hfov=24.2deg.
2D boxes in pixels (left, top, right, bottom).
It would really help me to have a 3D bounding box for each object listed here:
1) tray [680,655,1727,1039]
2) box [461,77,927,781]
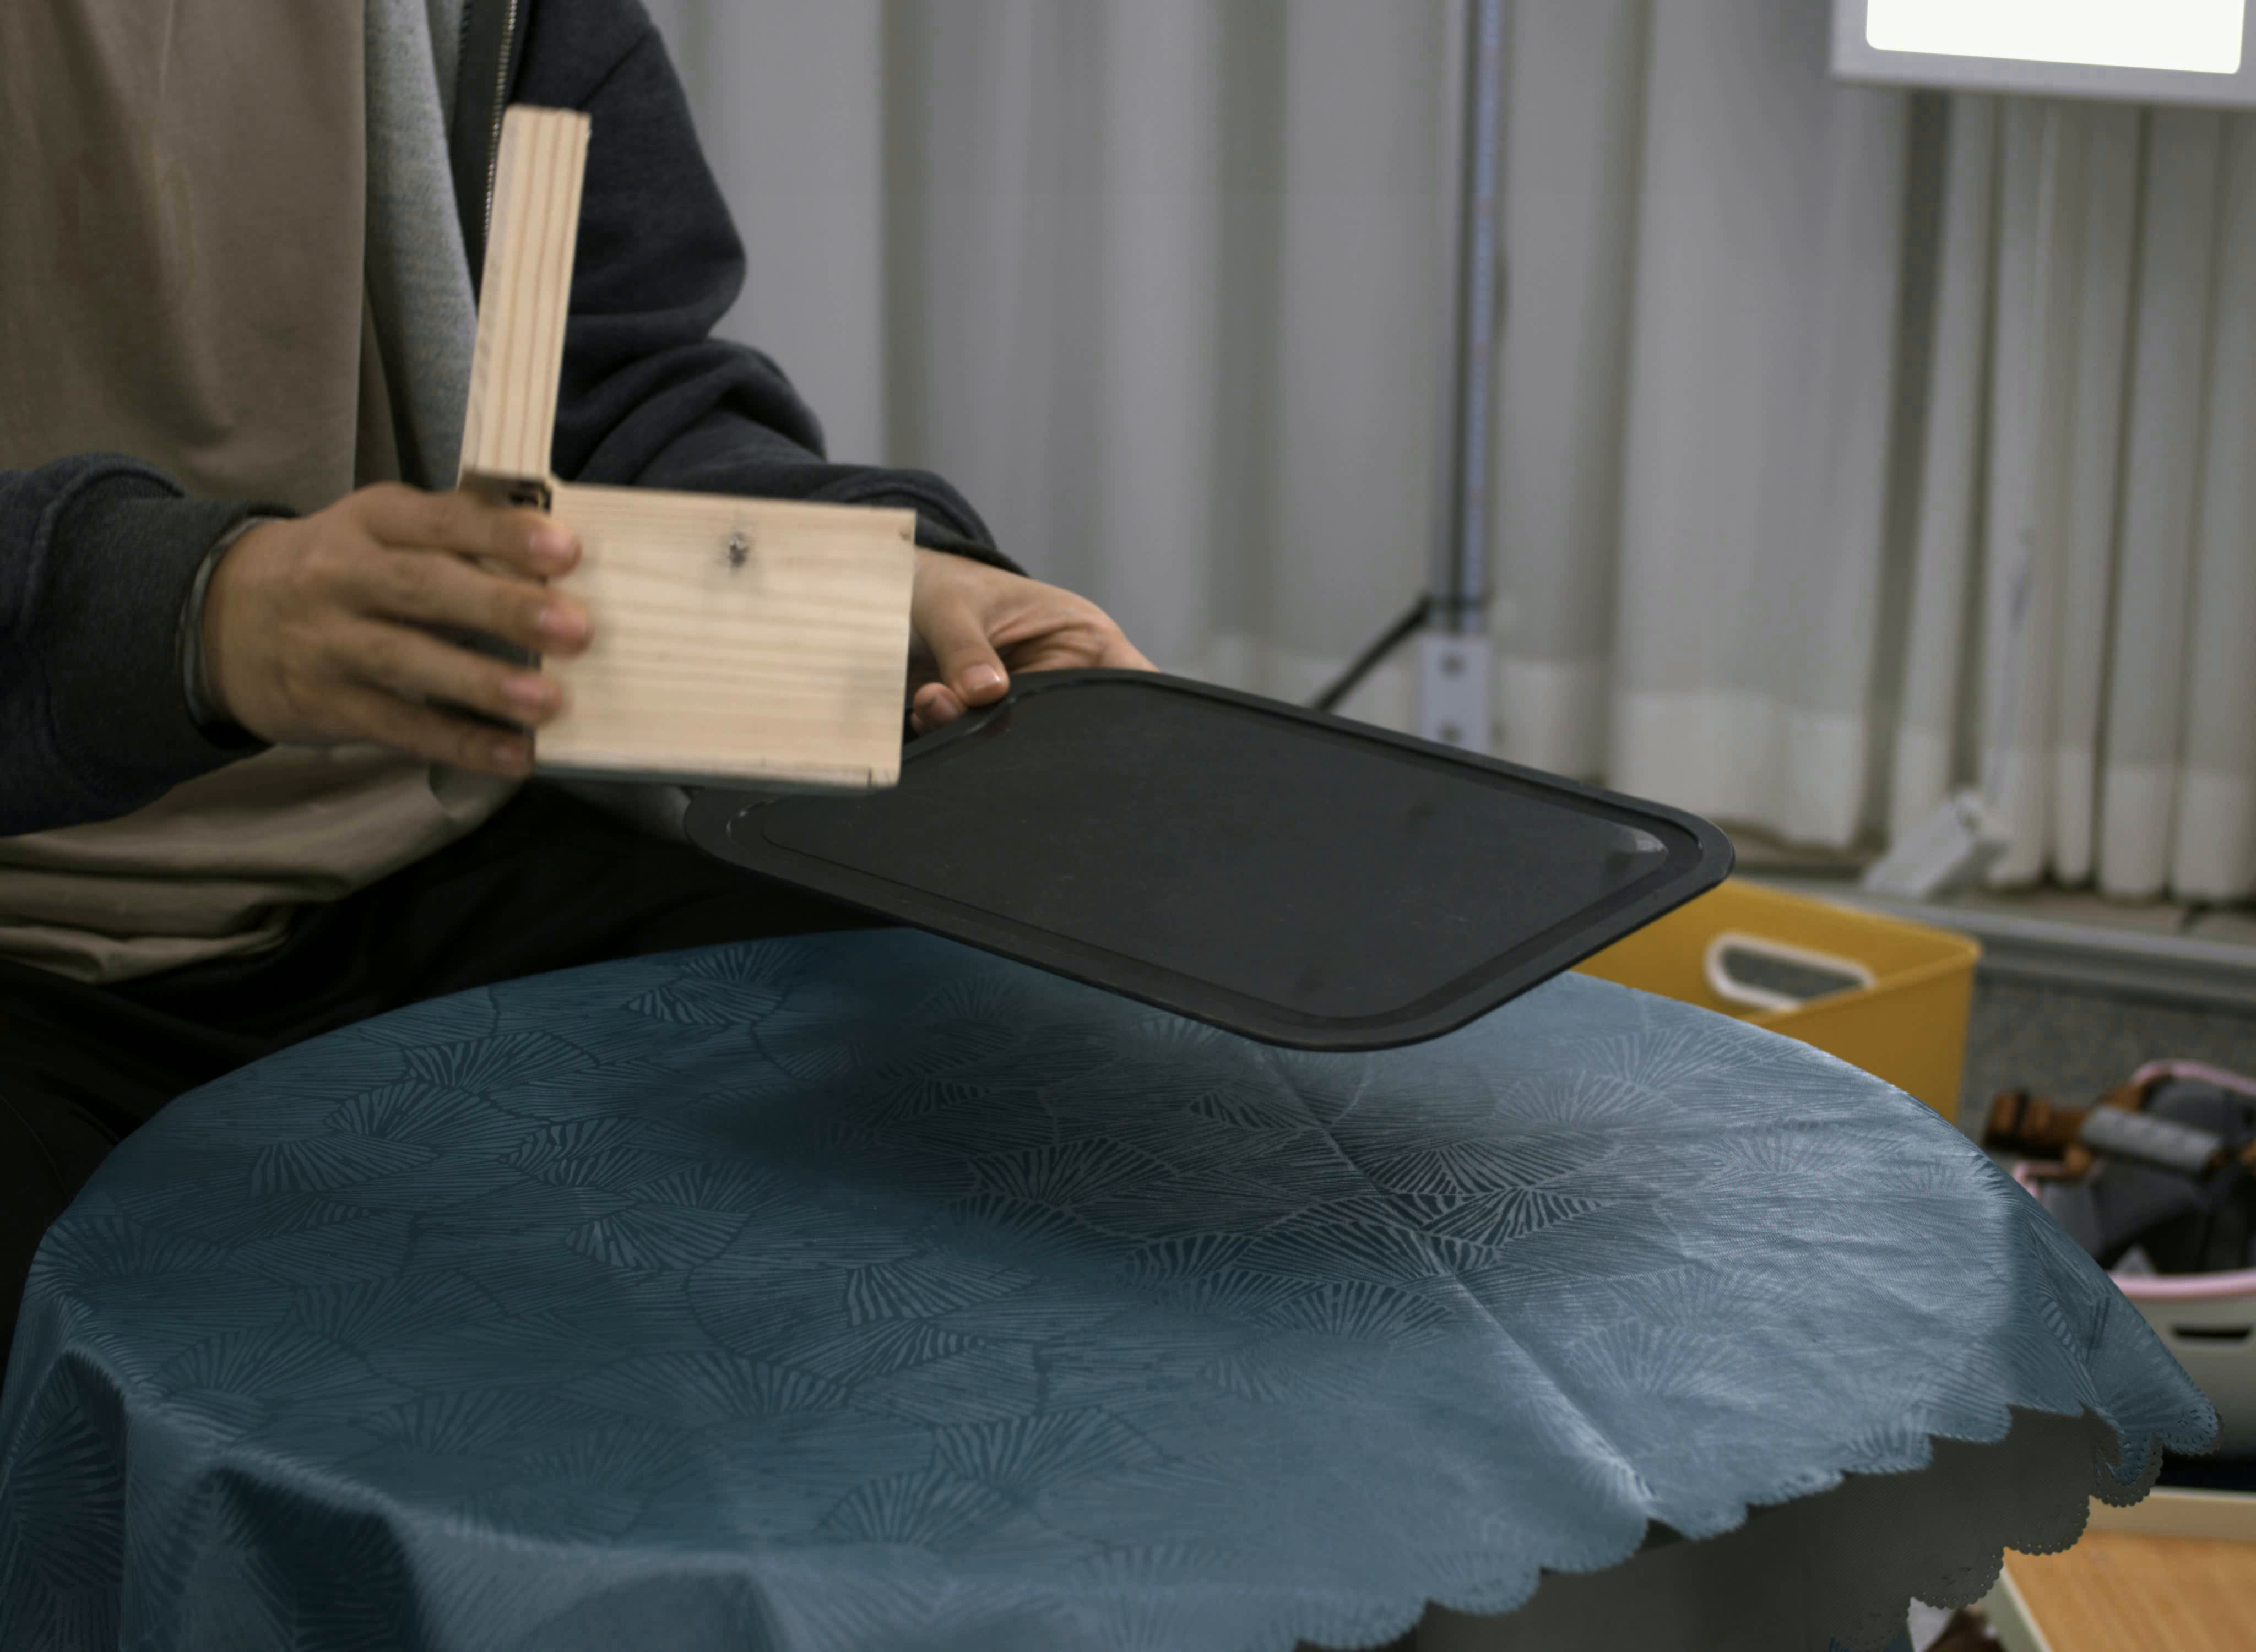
[{"bbox_3d":[0.014,-0.001,1.663,0.321,0.010,0.212,17,29,38],"label":"tray"},{"bbox_3d":[-0.122,-0.110,1.486,0.134,0.185,0.102,3,-1,-9],"label":"box"}]
